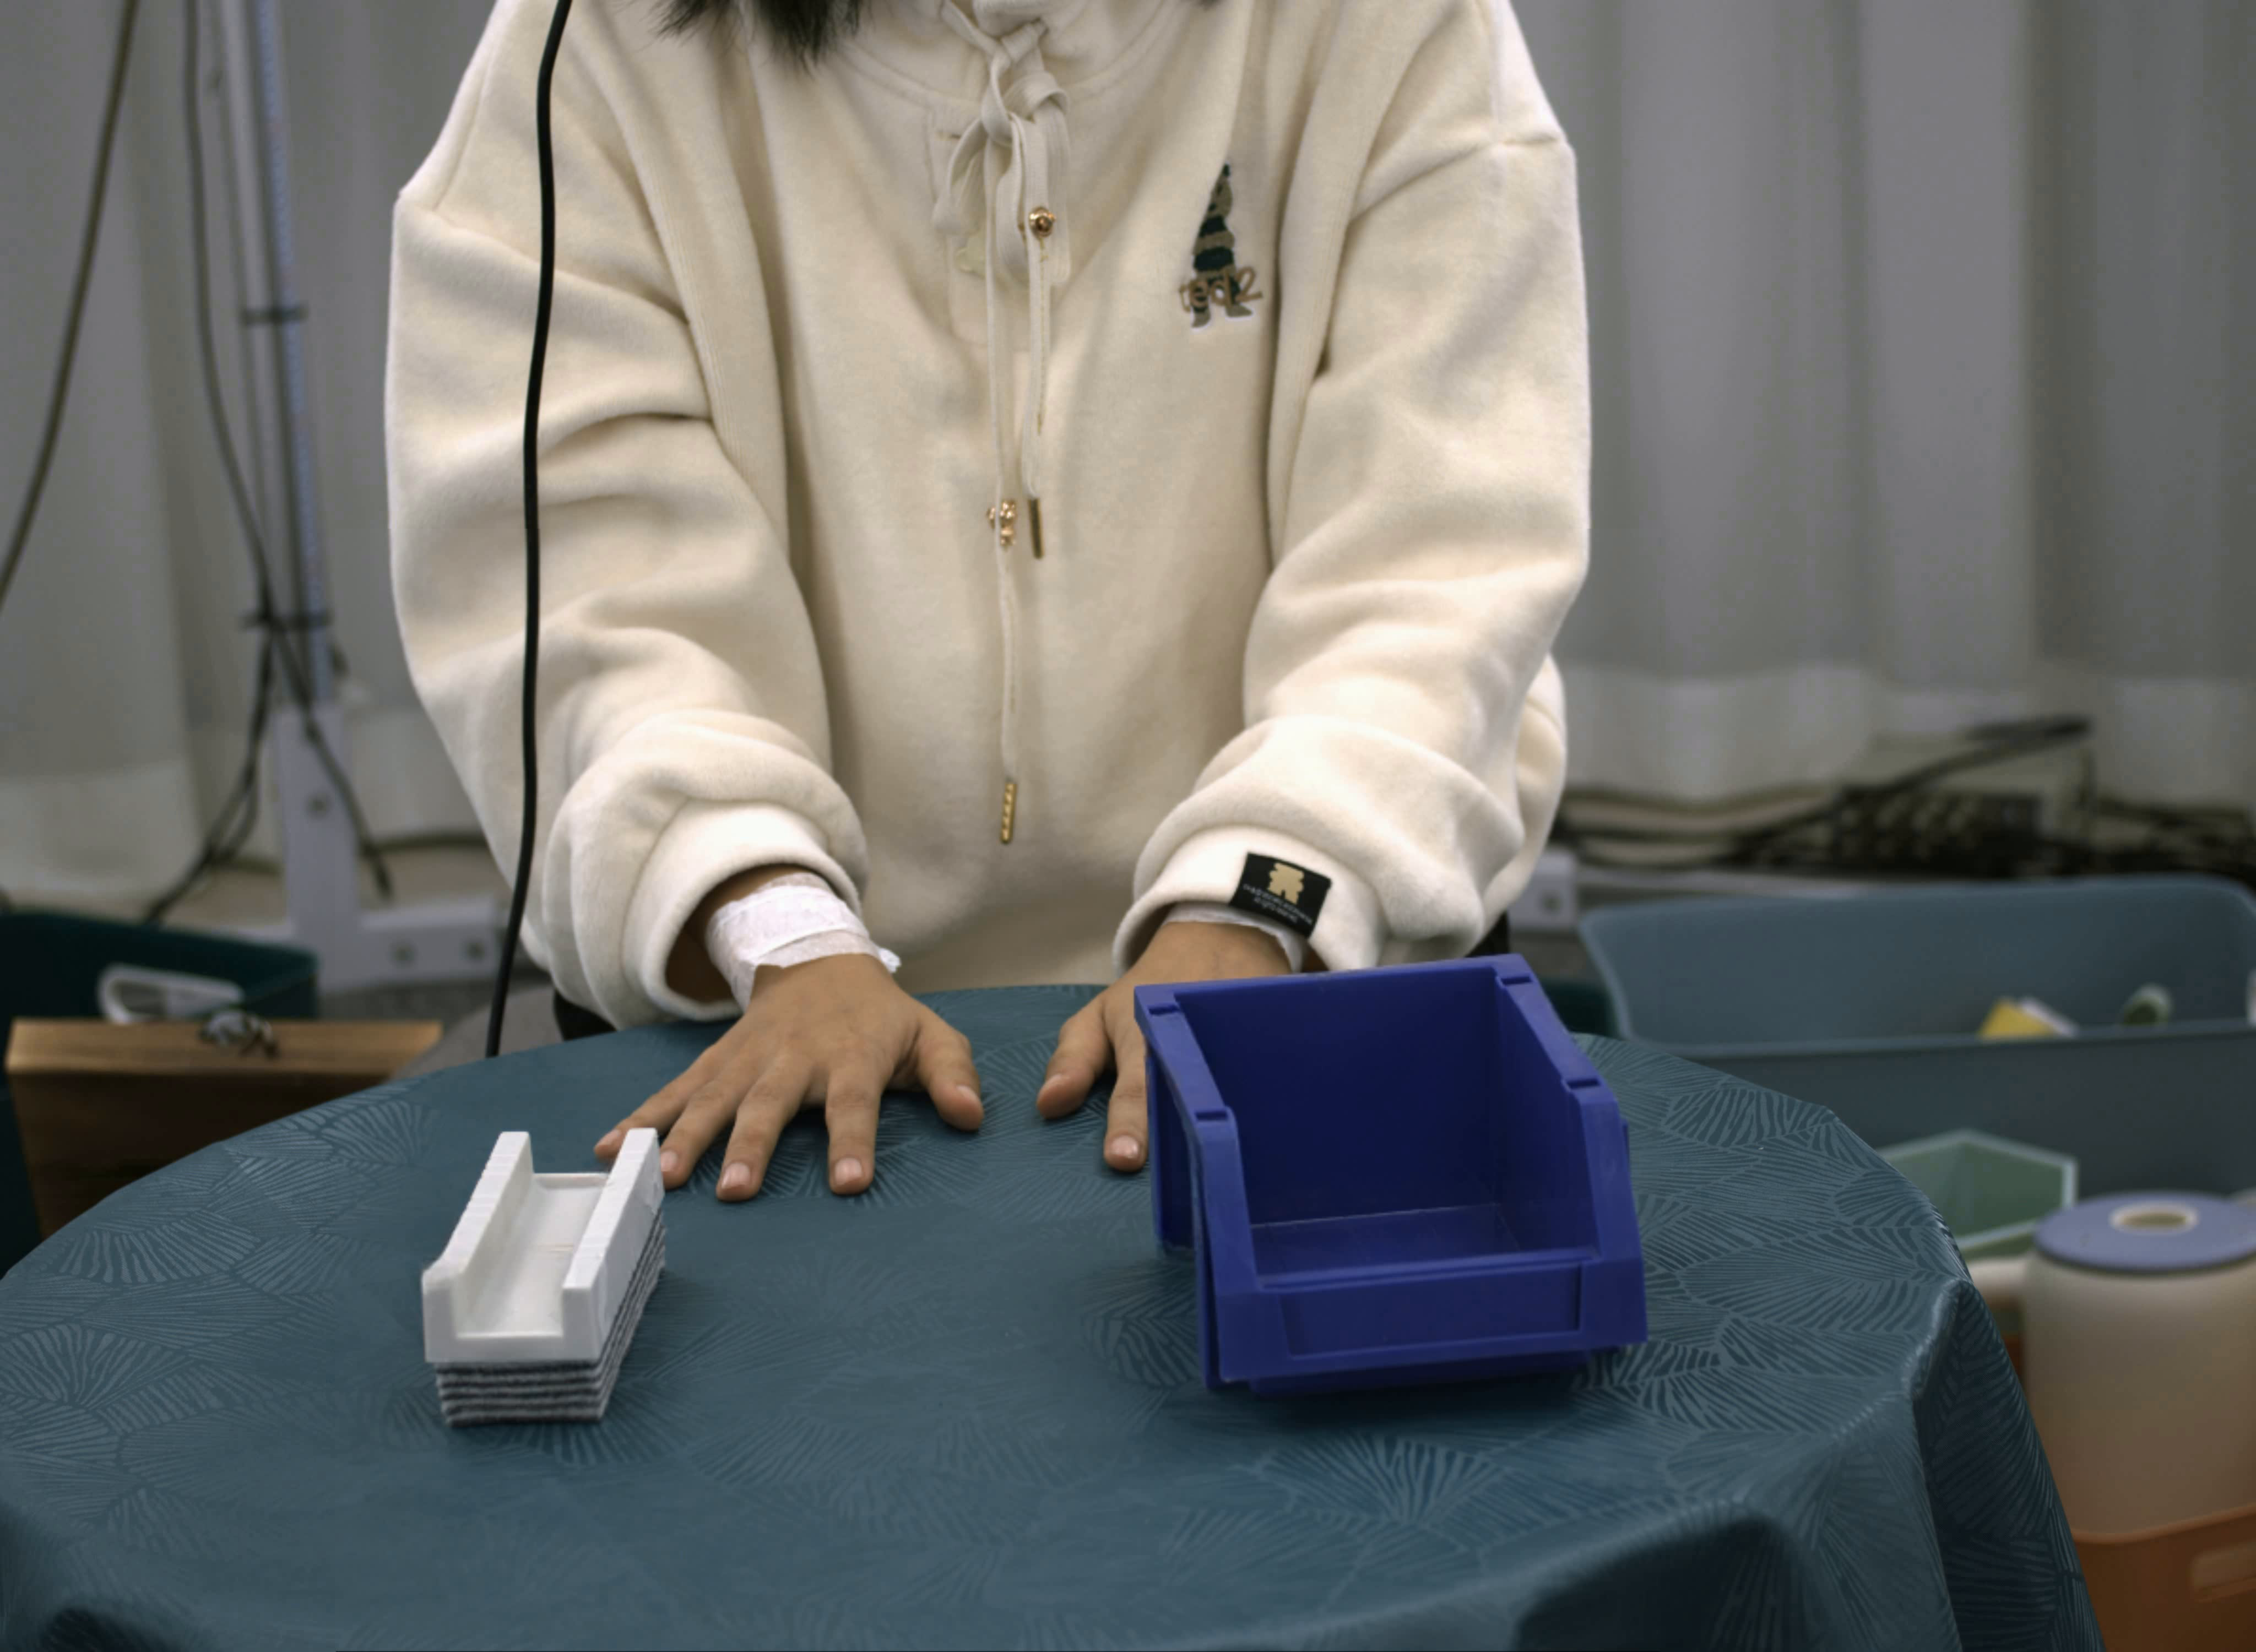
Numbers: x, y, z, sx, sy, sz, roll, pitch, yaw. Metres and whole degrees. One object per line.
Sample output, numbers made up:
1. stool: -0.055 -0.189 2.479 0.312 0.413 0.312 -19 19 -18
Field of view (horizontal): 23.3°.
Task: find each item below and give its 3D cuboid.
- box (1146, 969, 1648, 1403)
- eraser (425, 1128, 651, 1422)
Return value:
1. box: 0.077 0.106 1.574 0.124 0.081 0.180 -4 13 -4
2. eraser: -0.170 0.130 1.598 0.049 0.046 0.135 -5 16 2
